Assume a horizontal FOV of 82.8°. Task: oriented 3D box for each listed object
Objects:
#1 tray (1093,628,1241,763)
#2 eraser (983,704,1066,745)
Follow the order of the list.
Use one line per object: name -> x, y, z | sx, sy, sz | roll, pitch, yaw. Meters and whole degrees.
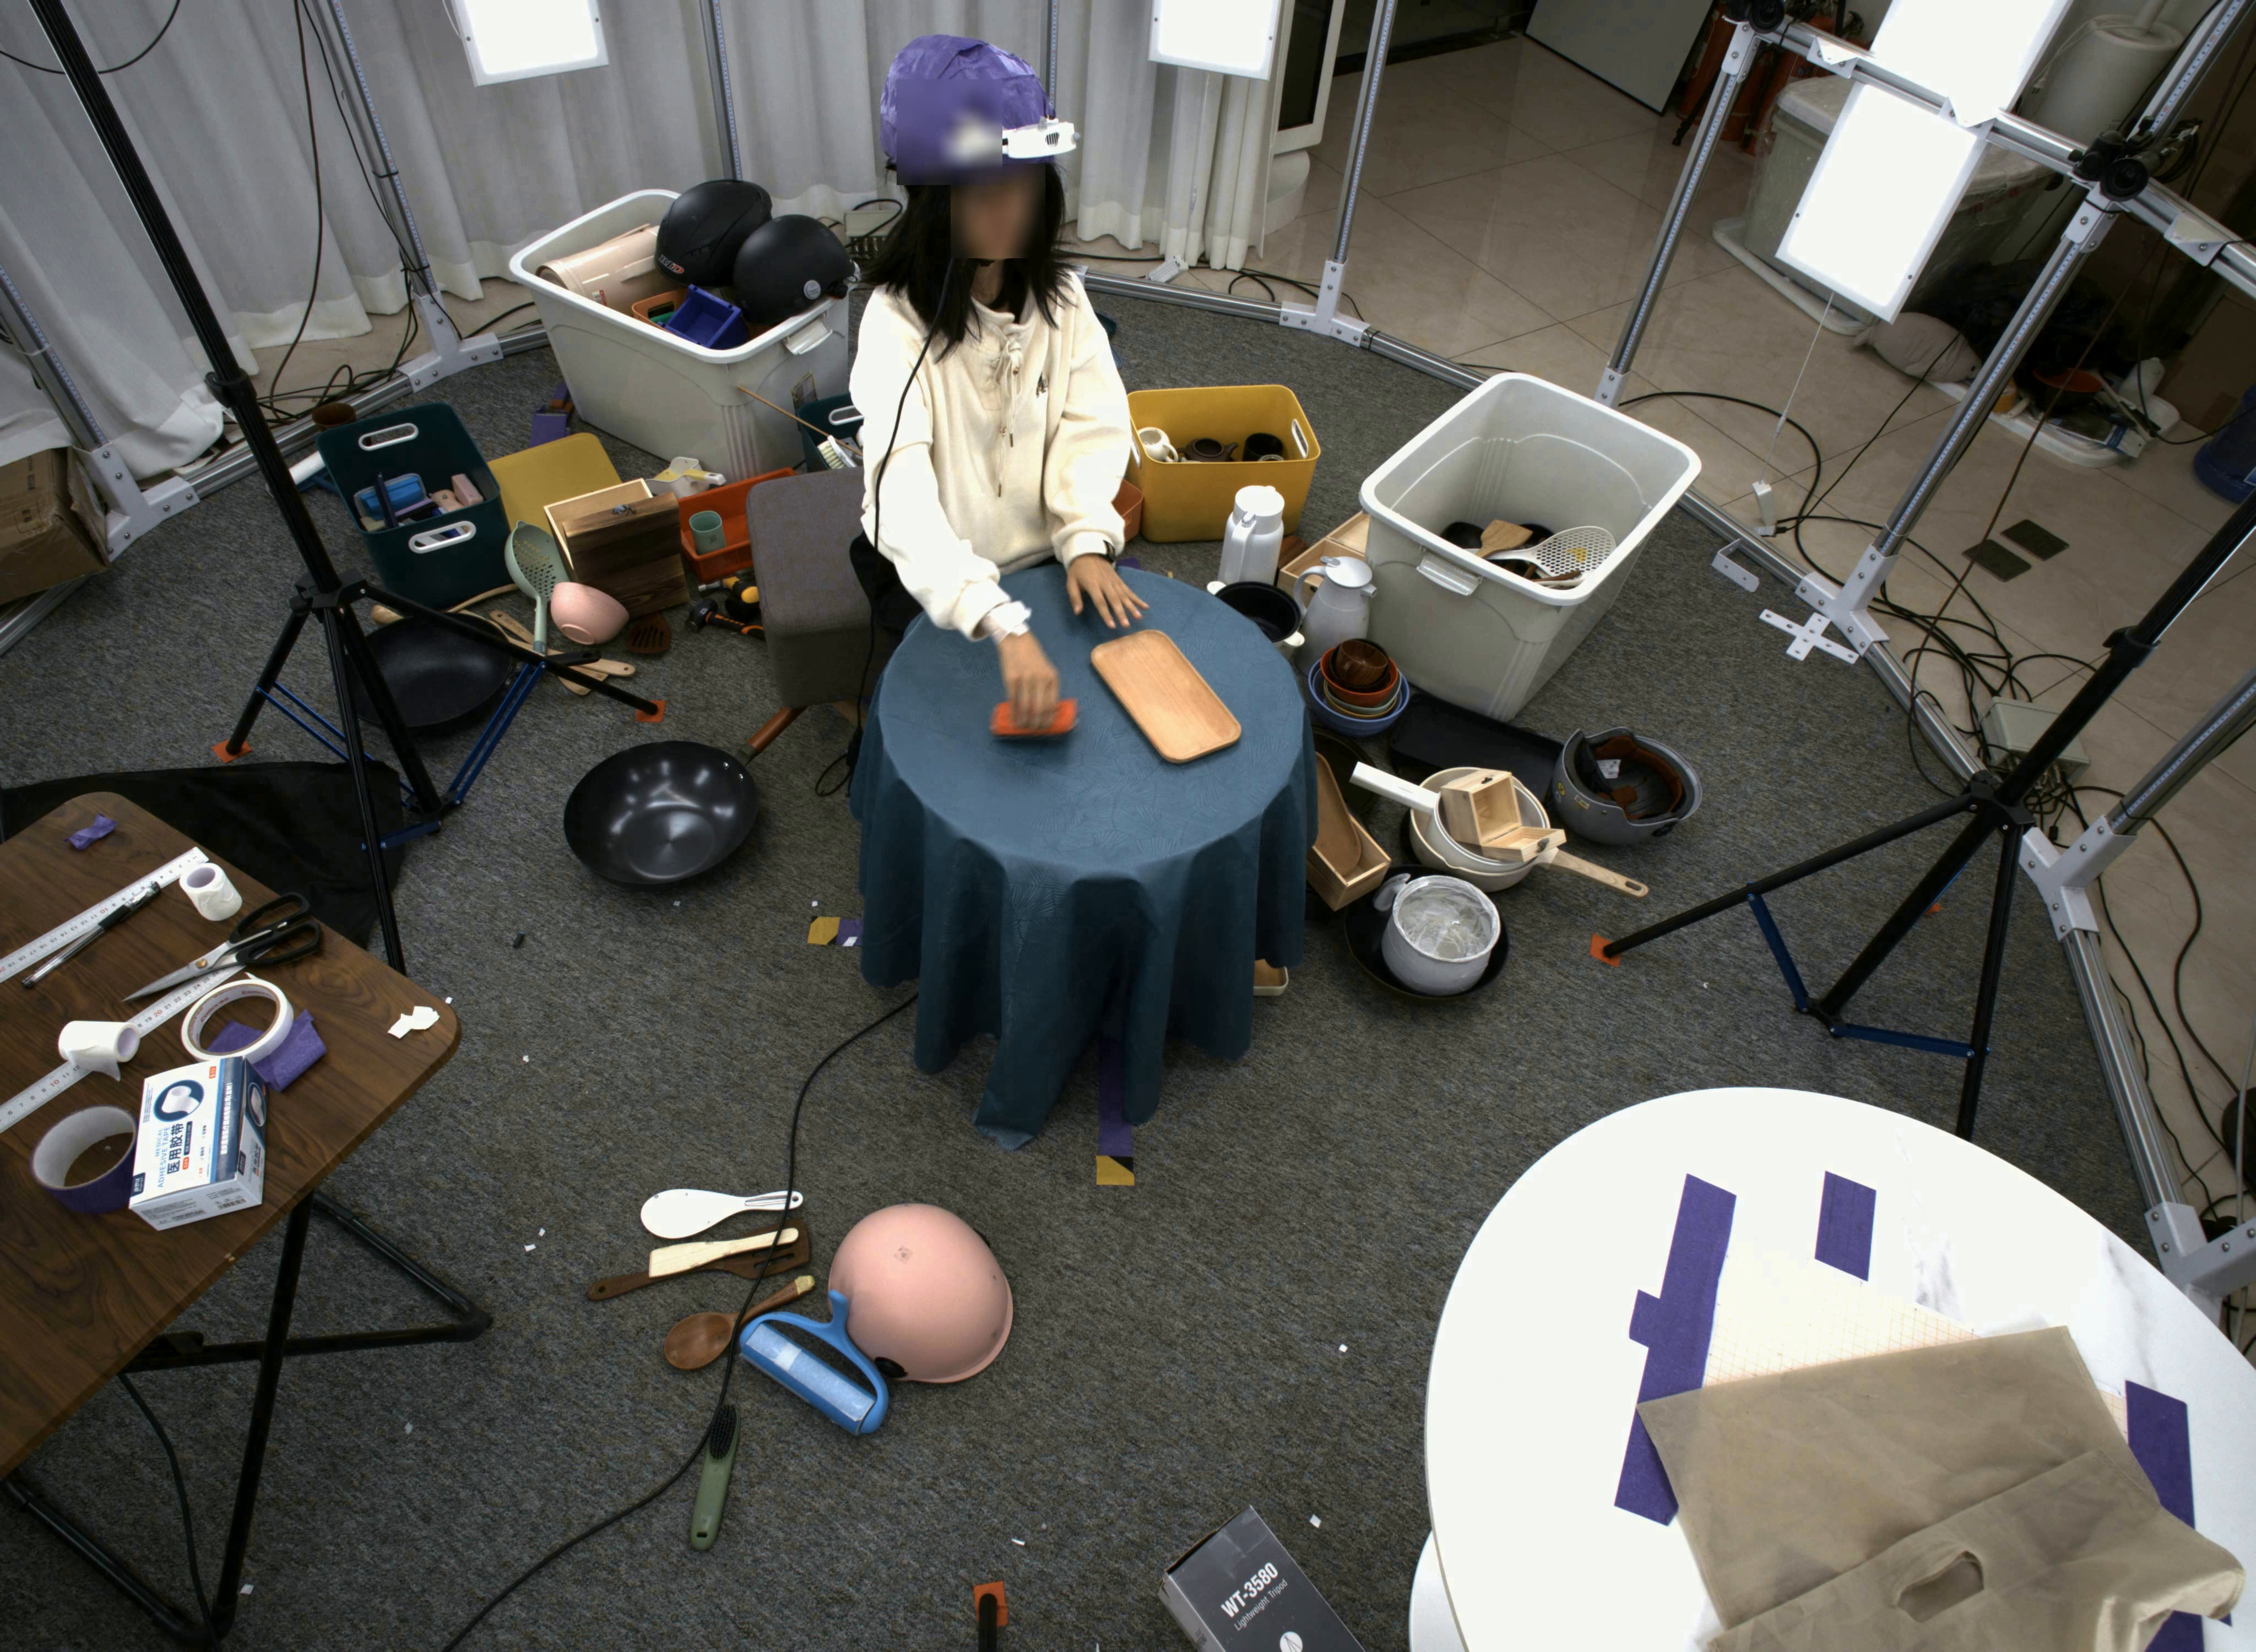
tray -> 0.053, -0.189, 1.825 | 0.131, 0.022, 0.256 | -18, 52, -21
eraser -> -0.141, -0.140, 1.755 | 0.108, 0.022, 0.060 | 4, 43, 6
